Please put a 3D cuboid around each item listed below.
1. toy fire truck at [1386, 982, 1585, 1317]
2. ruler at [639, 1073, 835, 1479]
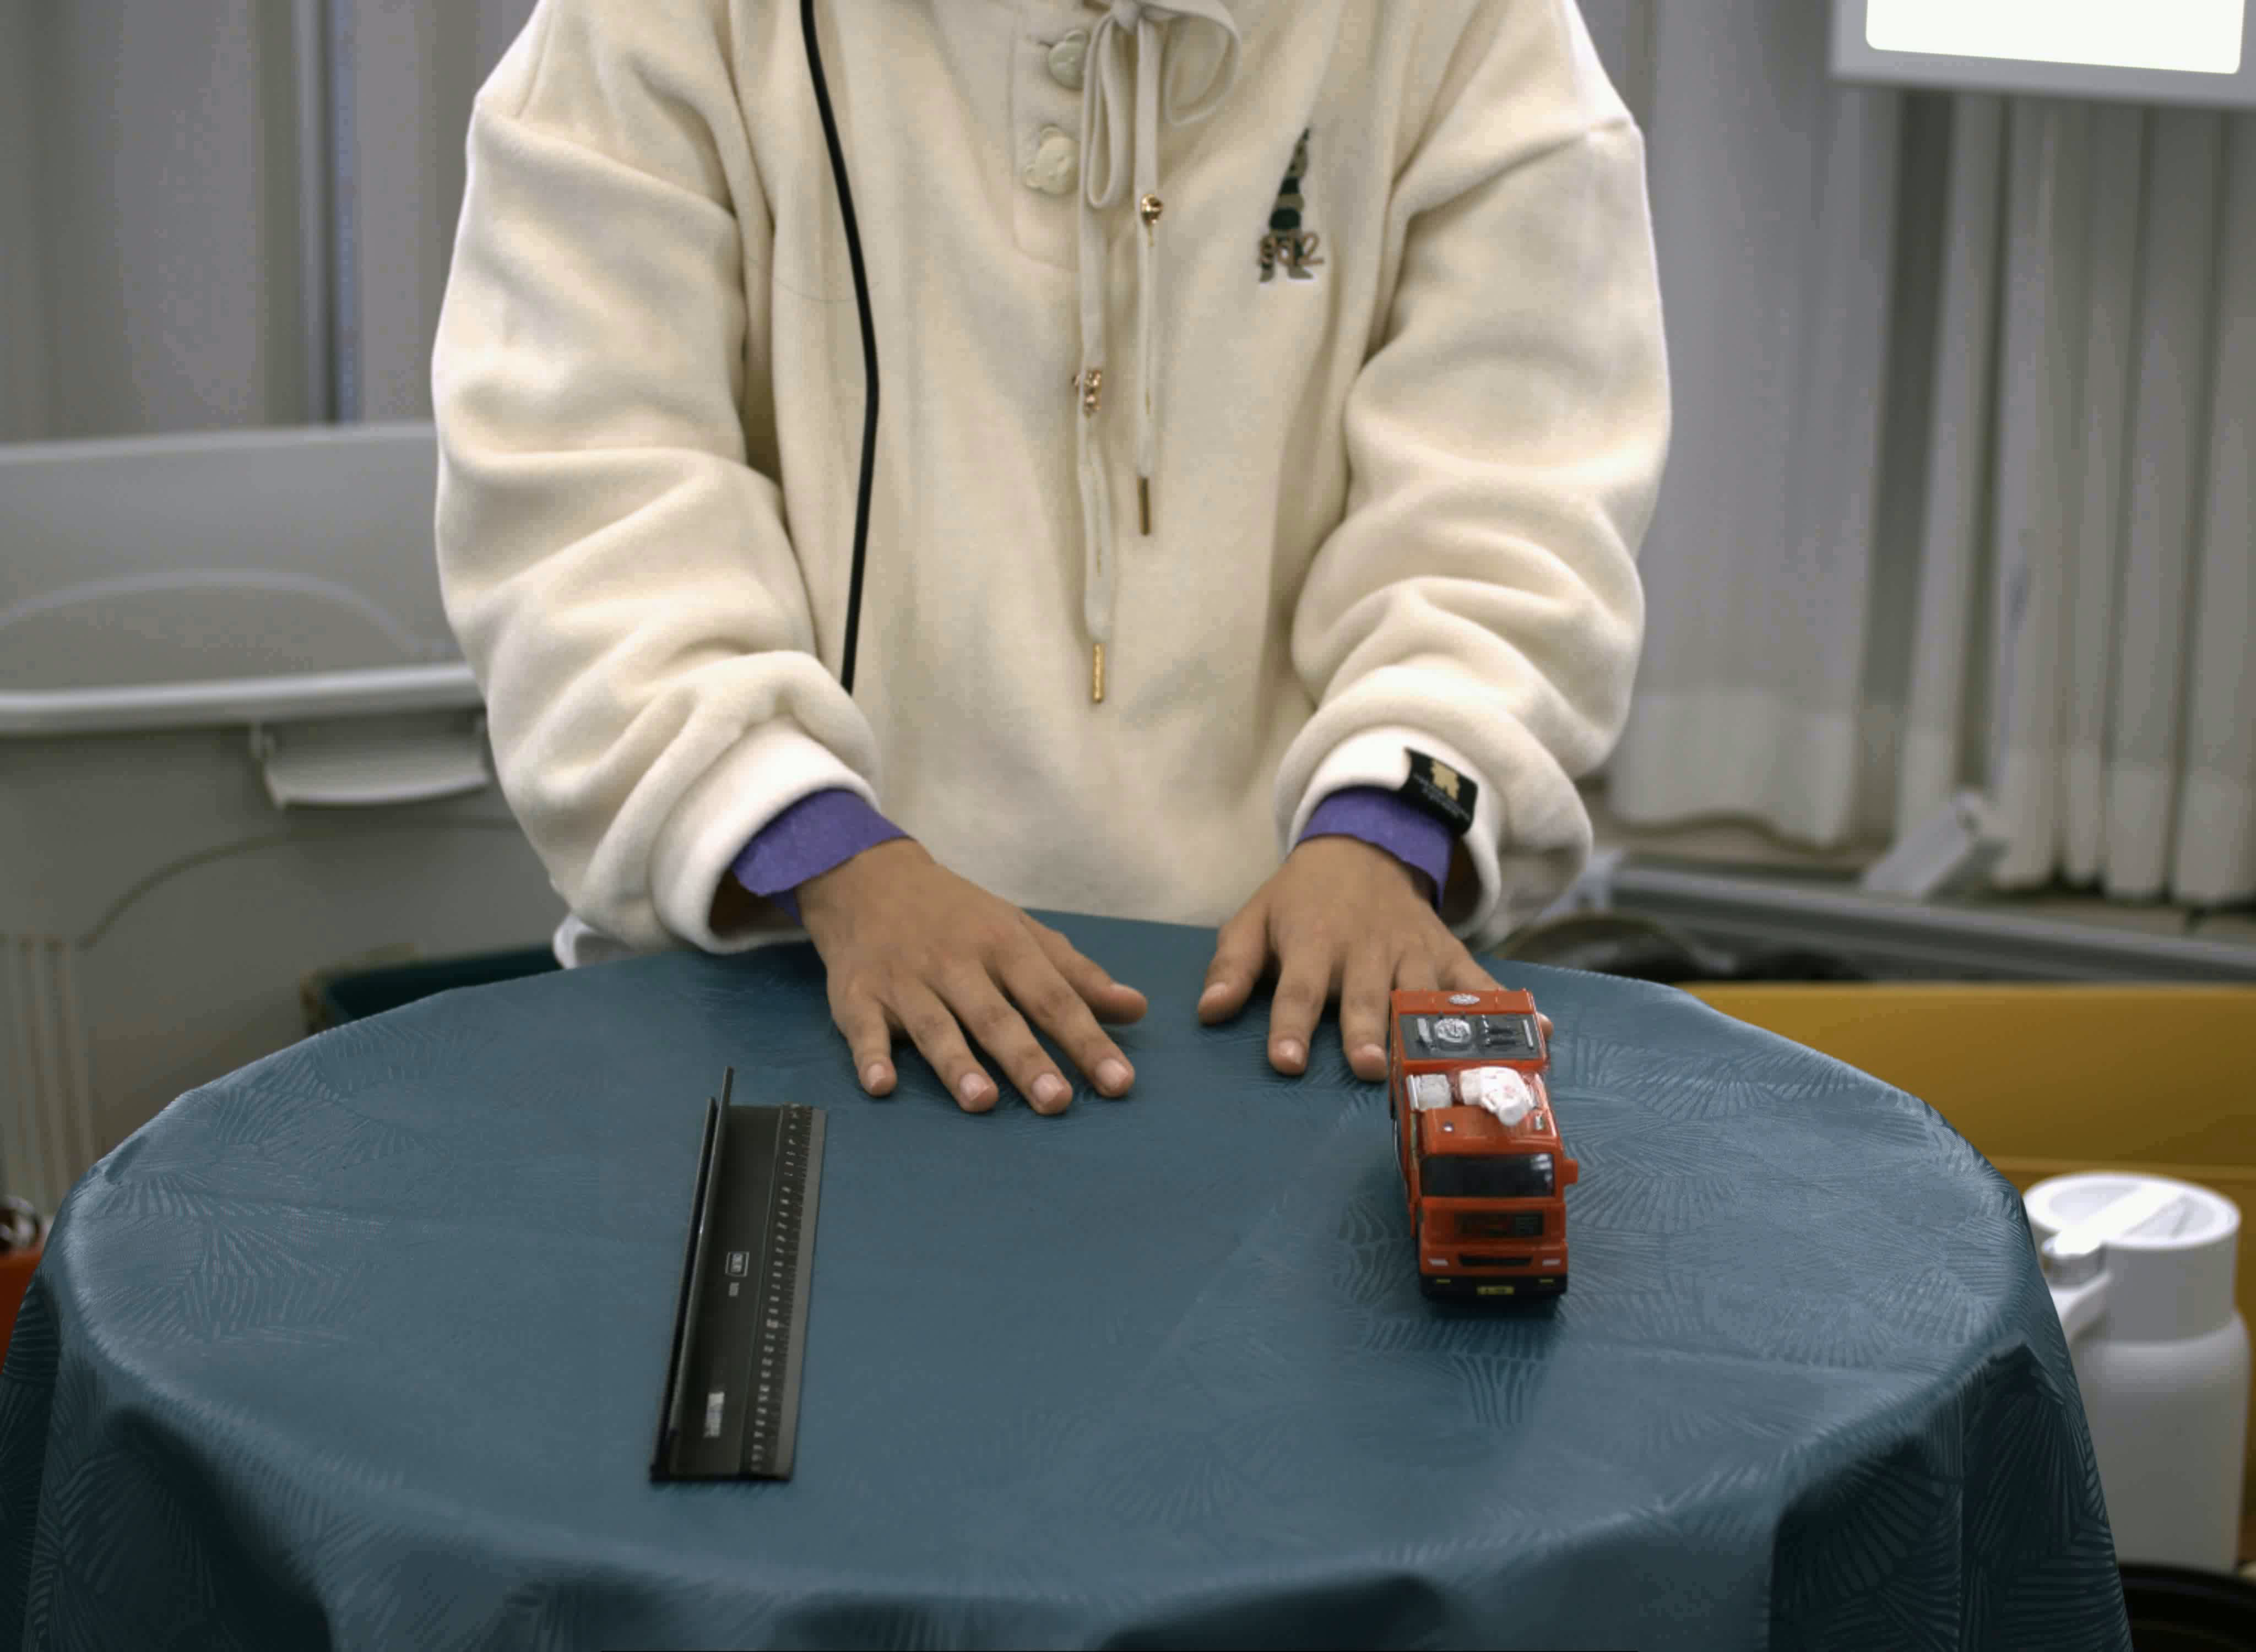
[{"bbox_3d":[0.106,0.094,1.582,0.054,0.071,0.167,0,14,-1],"label":"toy fire truck"},{"bbox_3d":[-0.112,0.126,1.538,0.039,0.017,0.311,4,15,-1],"label":"ruler"}]
